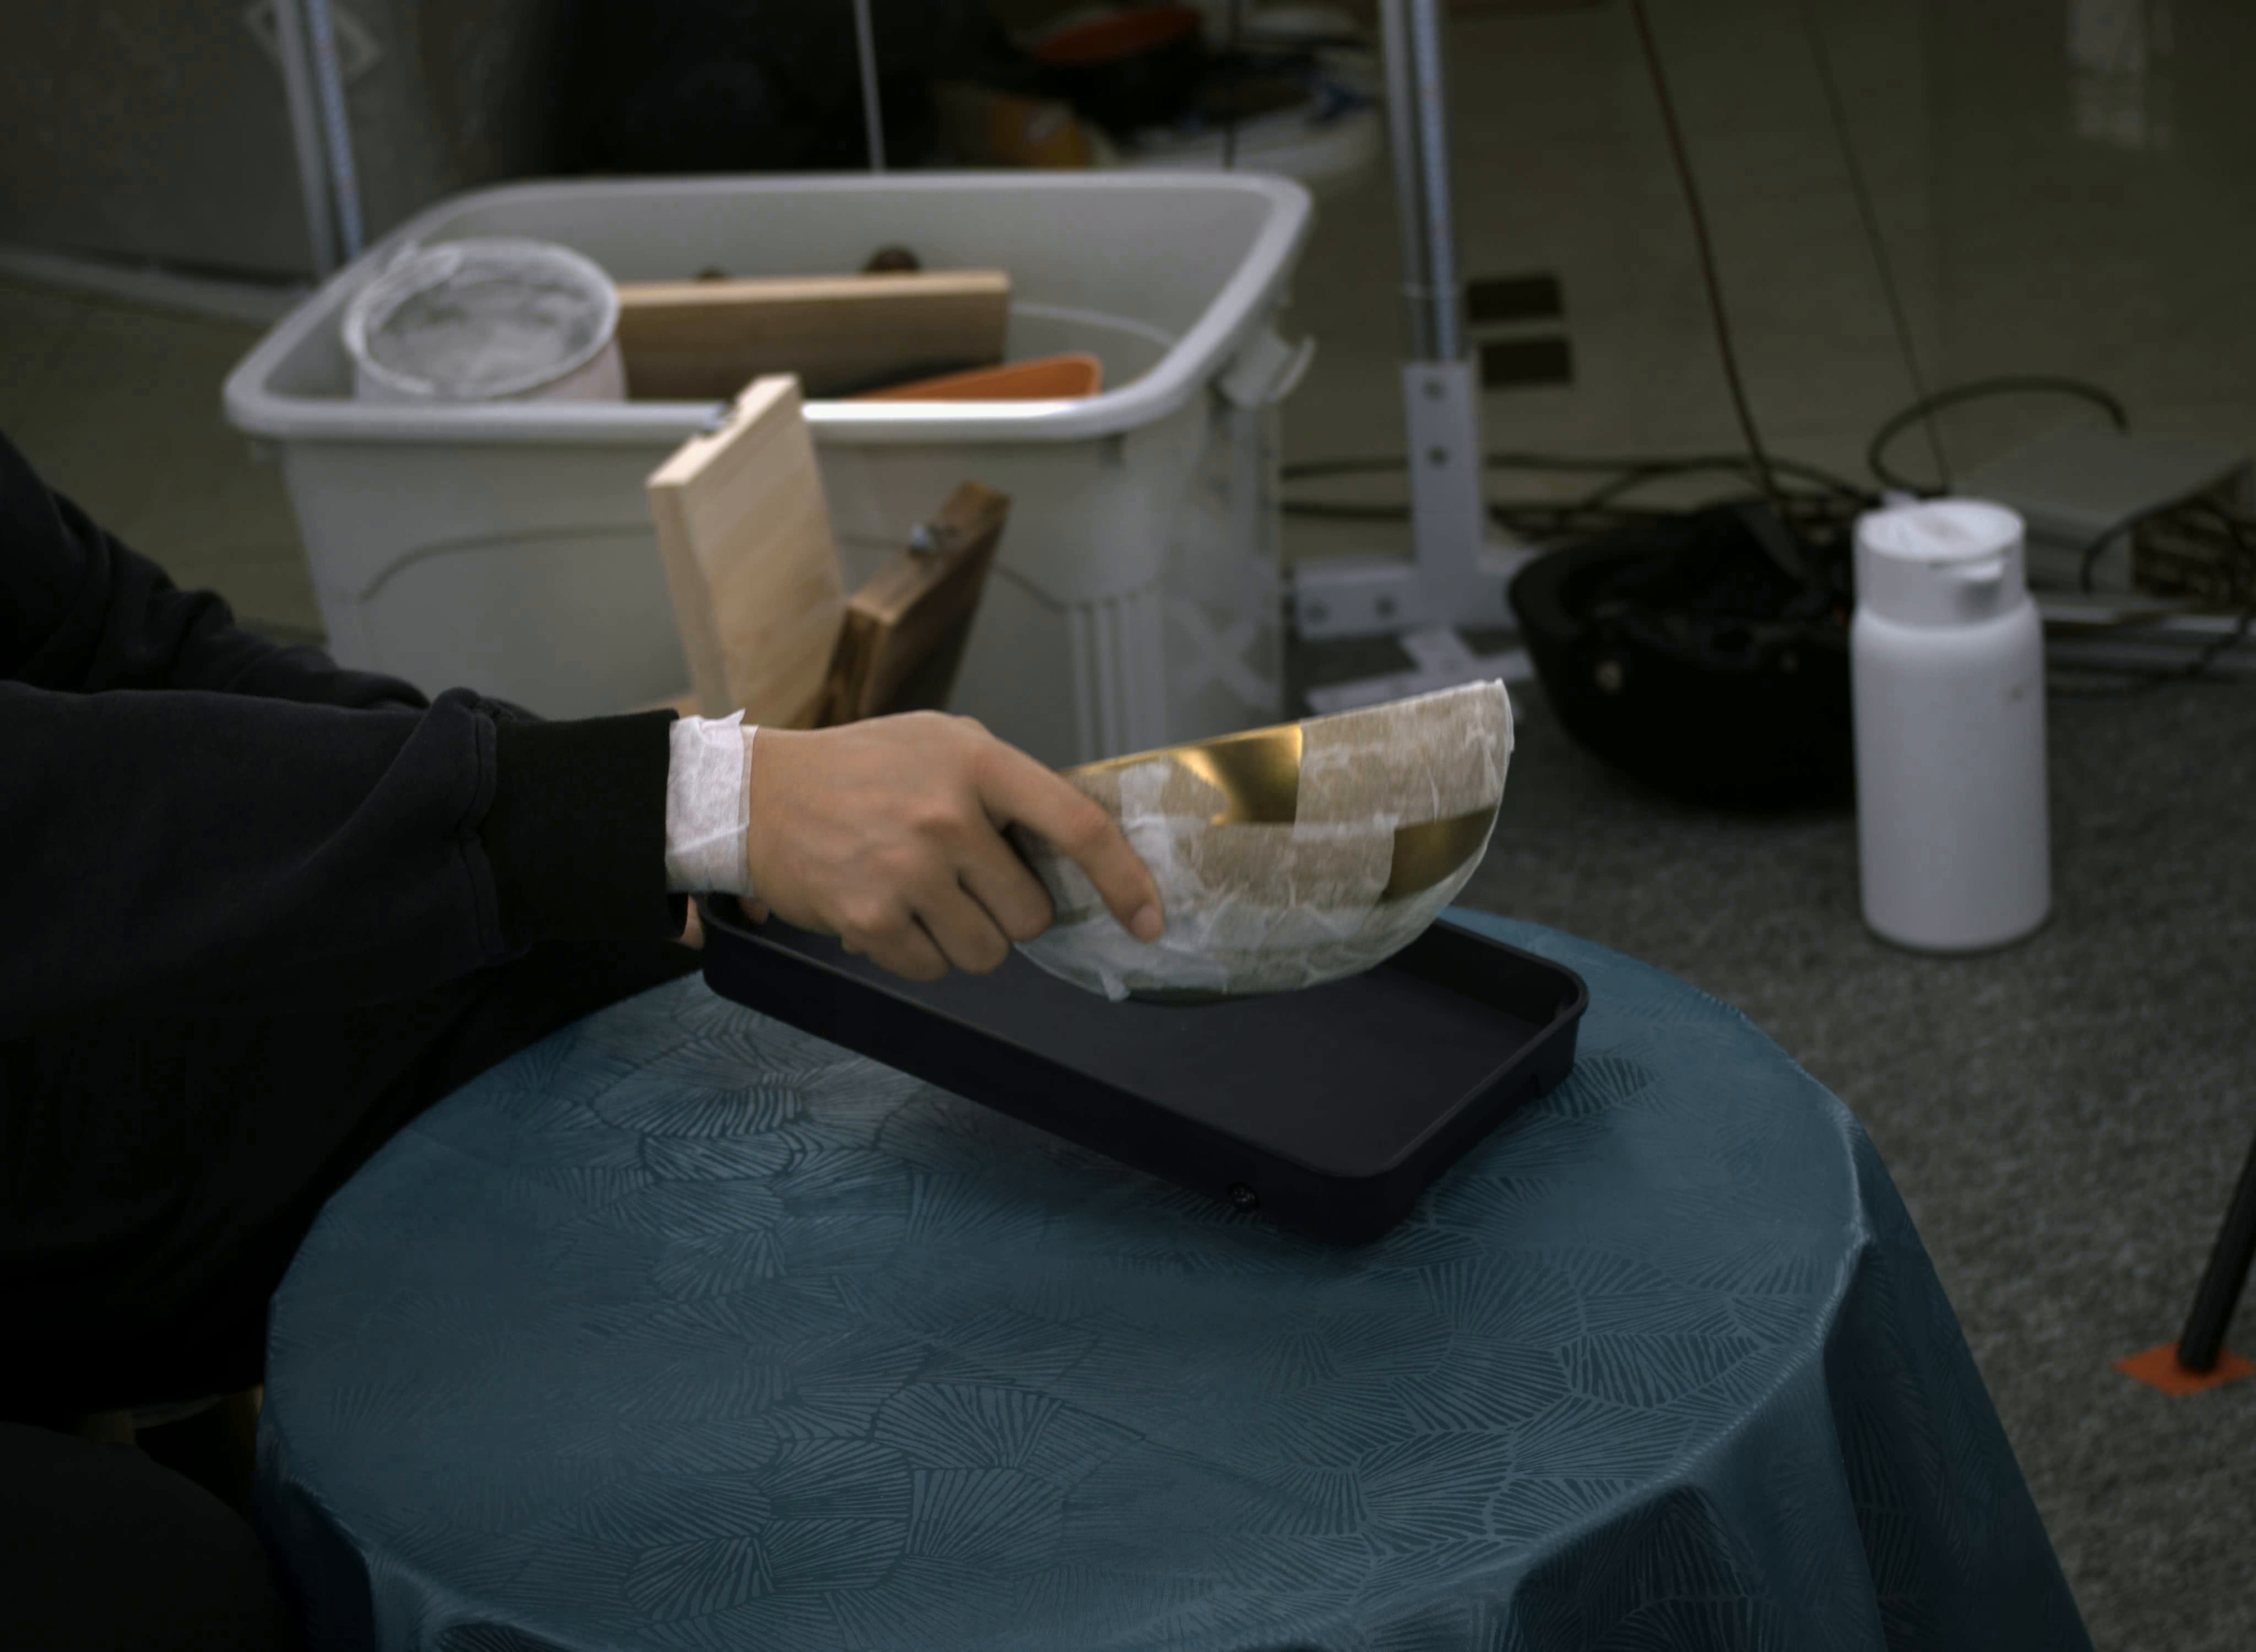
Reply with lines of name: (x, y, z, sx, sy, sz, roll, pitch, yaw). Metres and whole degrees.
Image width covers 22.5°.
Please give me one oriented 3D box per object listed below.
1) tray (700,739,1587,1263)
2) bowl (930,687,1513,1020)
tray: (0.004, 0.064, 2.208, 0.315, 0.038, 0.182, 24, 35, 27)
bowl: (0.038, 0.016, 1.978, 0.214, 0.095, 0.214, -12, 2, 1)
